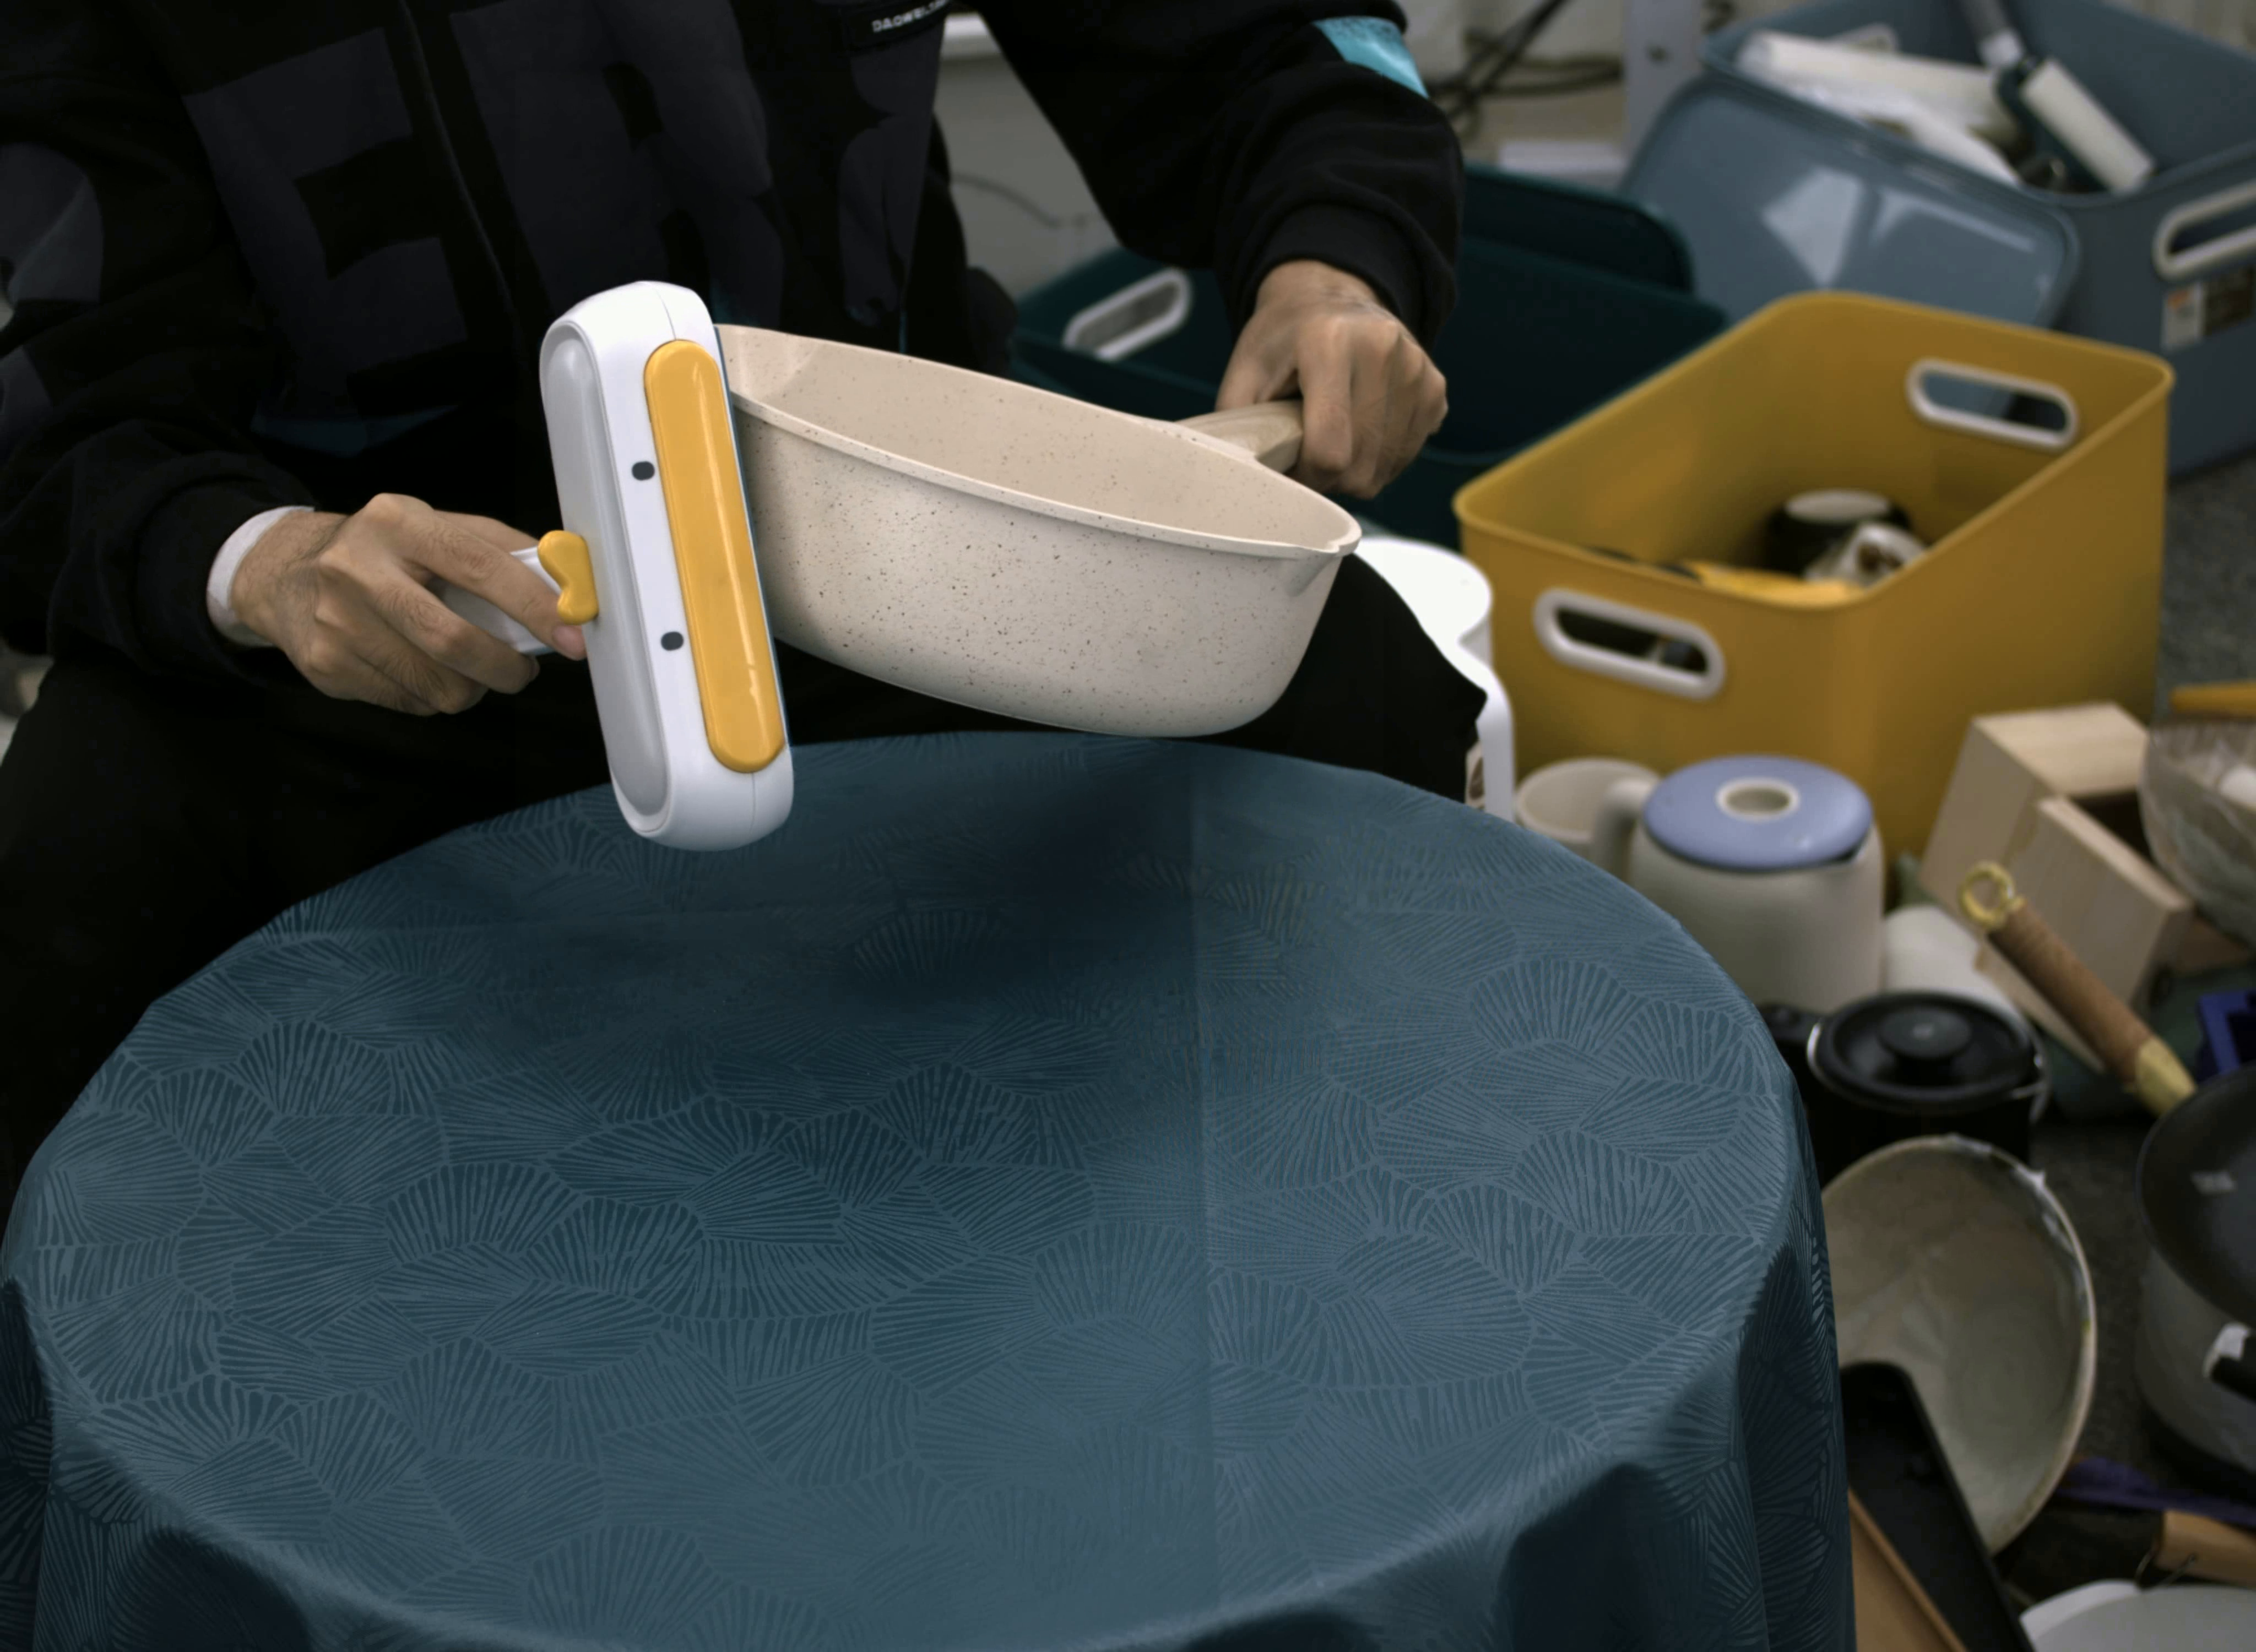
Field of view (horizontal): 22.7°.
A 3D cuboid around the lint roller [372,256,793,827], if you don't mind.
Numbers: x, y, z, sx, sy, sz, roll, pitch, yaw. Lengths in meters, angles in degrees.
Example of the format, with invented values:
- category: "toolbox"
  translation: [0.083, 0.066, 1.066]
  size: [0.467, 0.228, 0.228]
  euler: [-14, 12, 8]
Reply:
- category: "lint roller"
  translation: [-0.194, -0.083, 1.932]
  size: [0.075, 0.194, 0.190]
  euler: [-14, -2, -35]

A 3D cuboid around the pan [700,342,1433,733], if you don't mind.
- category: "pan"
  translation: [0.002, -0.110, 2.066]
  size: [0.262, 0.102, 0.437]
  euler: [19, 12, 26]
